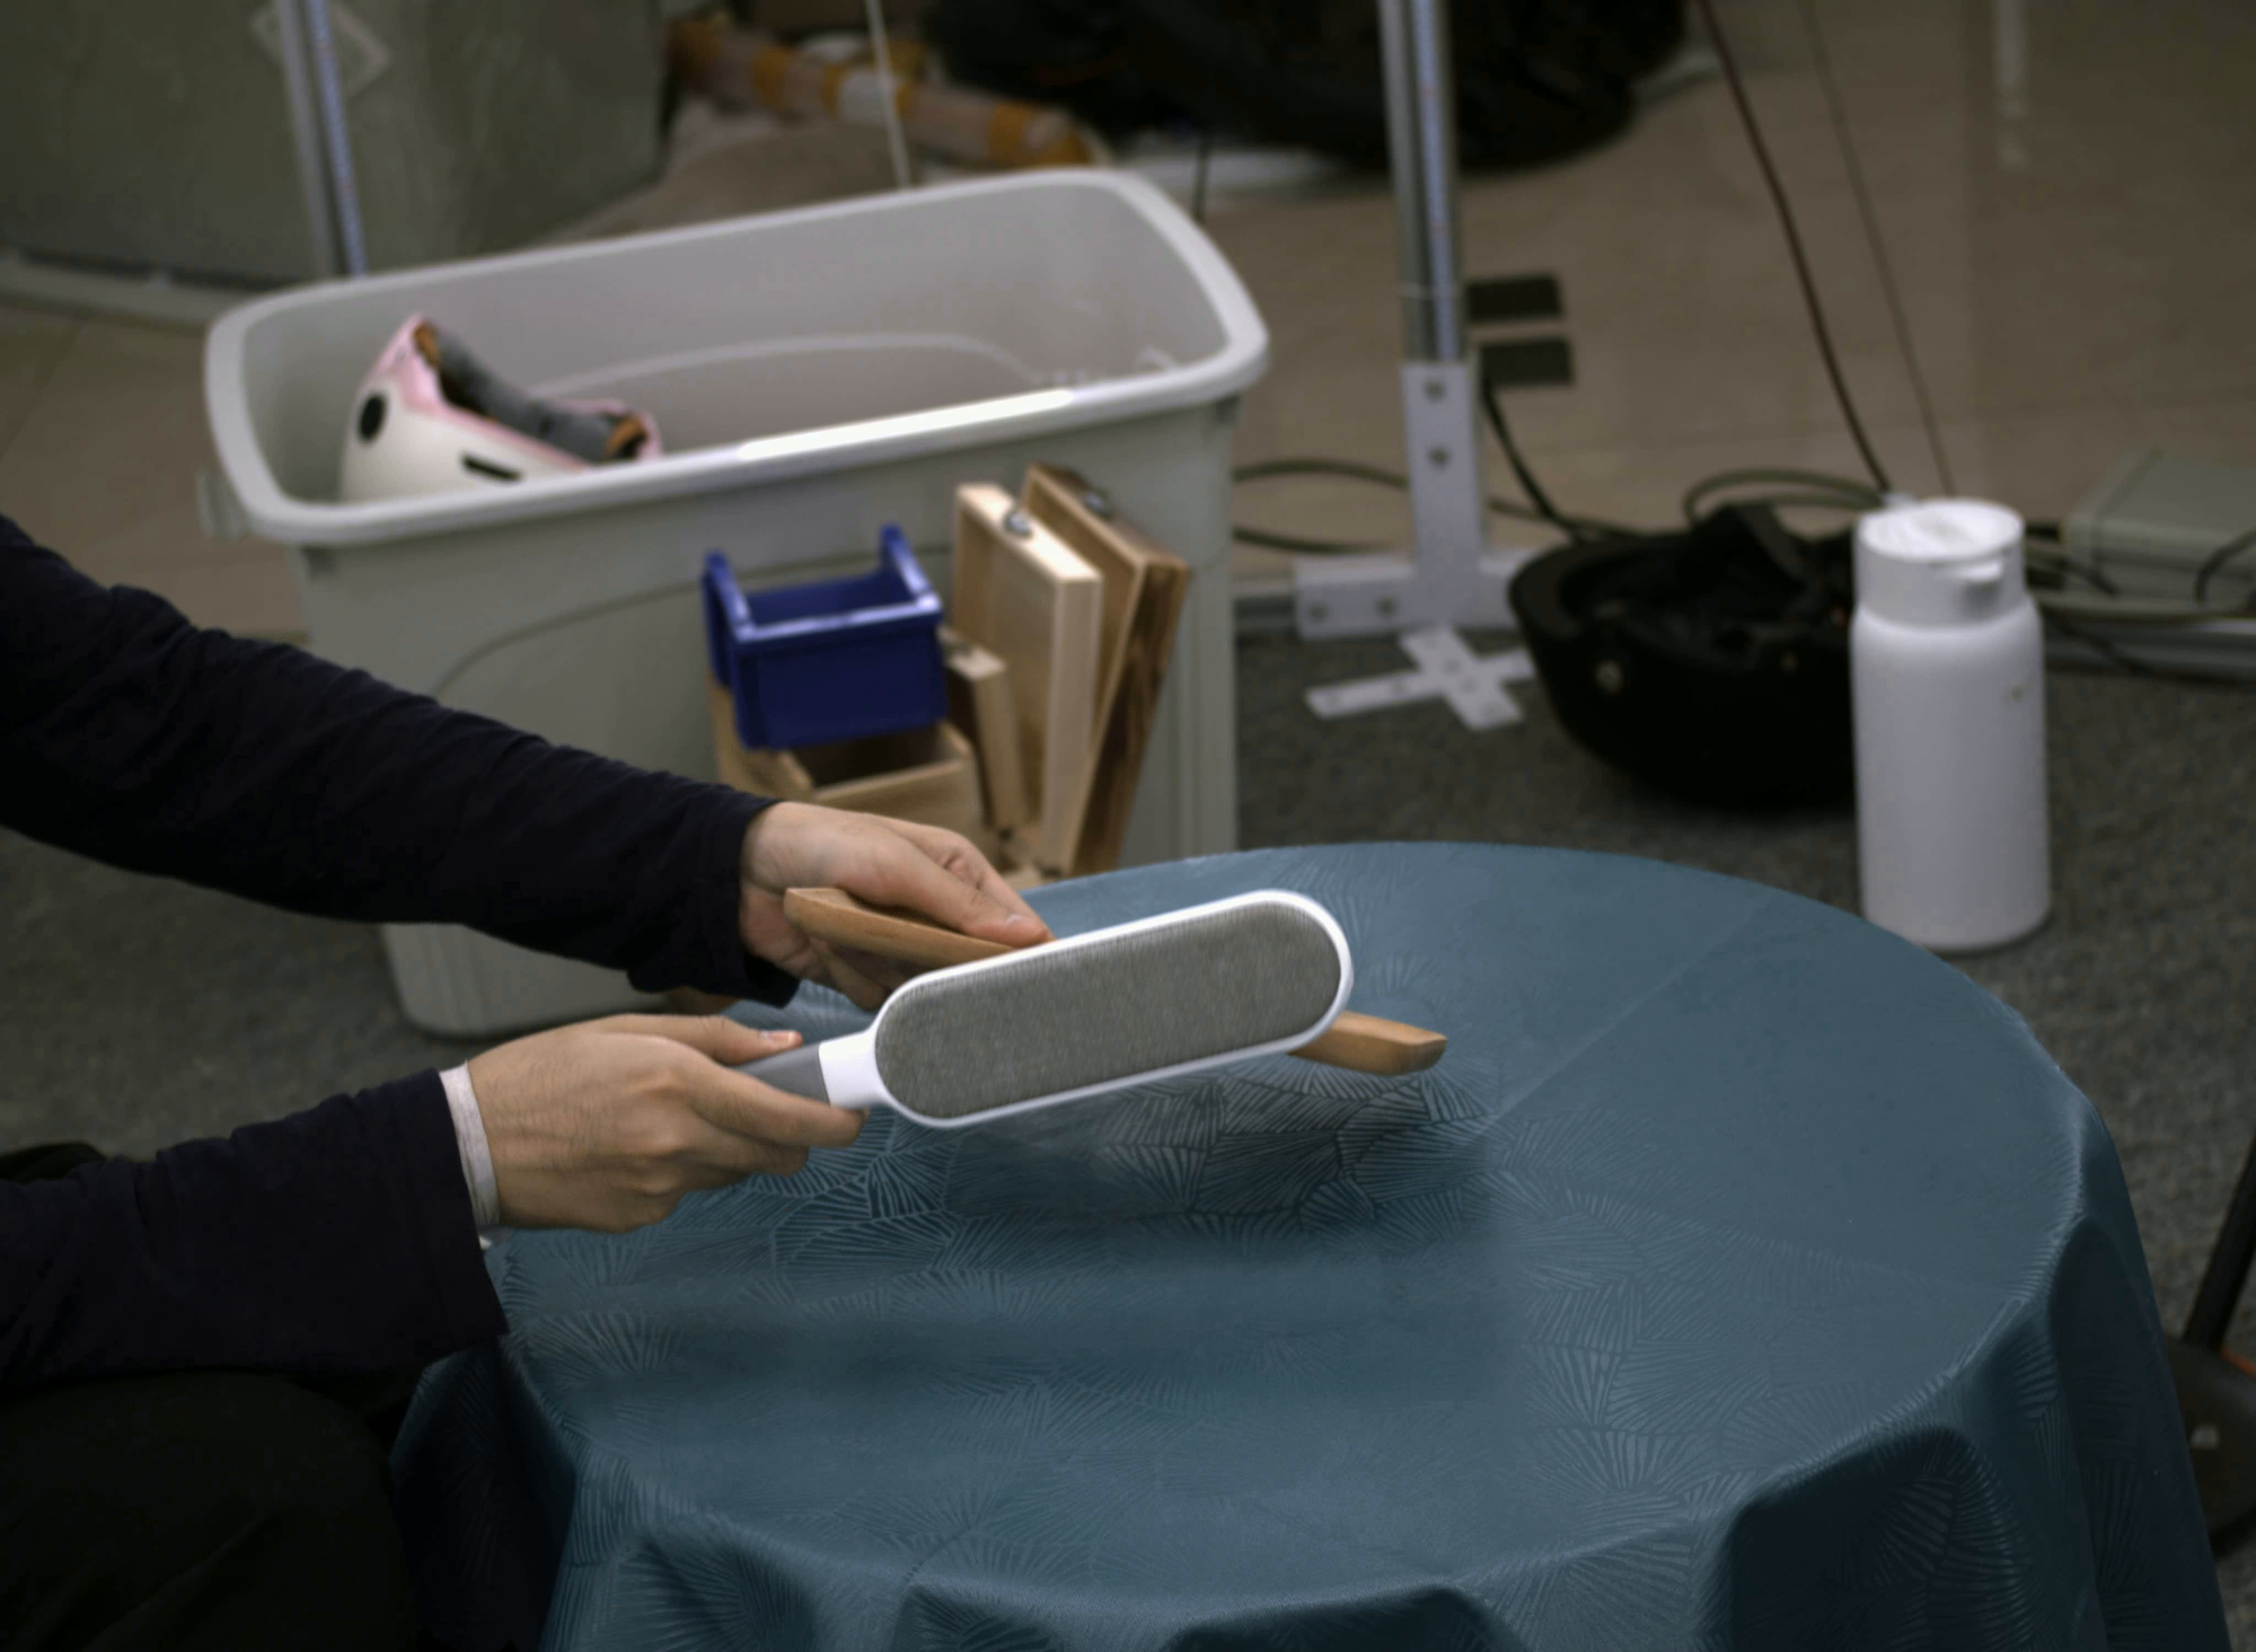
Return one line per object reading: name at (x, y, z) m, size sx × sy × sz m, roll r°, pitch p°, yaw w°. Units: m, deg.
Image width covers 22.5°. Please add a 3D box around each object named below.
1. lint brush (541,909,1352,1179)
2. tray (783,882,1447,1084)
lint brush at (-0.068, 0.084, 2.044) m, size 0.309 × 0.060 × 0.021 m, roll -13°, pitch 6°, yaw 13°
tray at (-0.005, 0.059, 2.171) m, size 0.250 × 0.023 × 0.130 m, roll 14°, pitch 1°, yaw 13°
